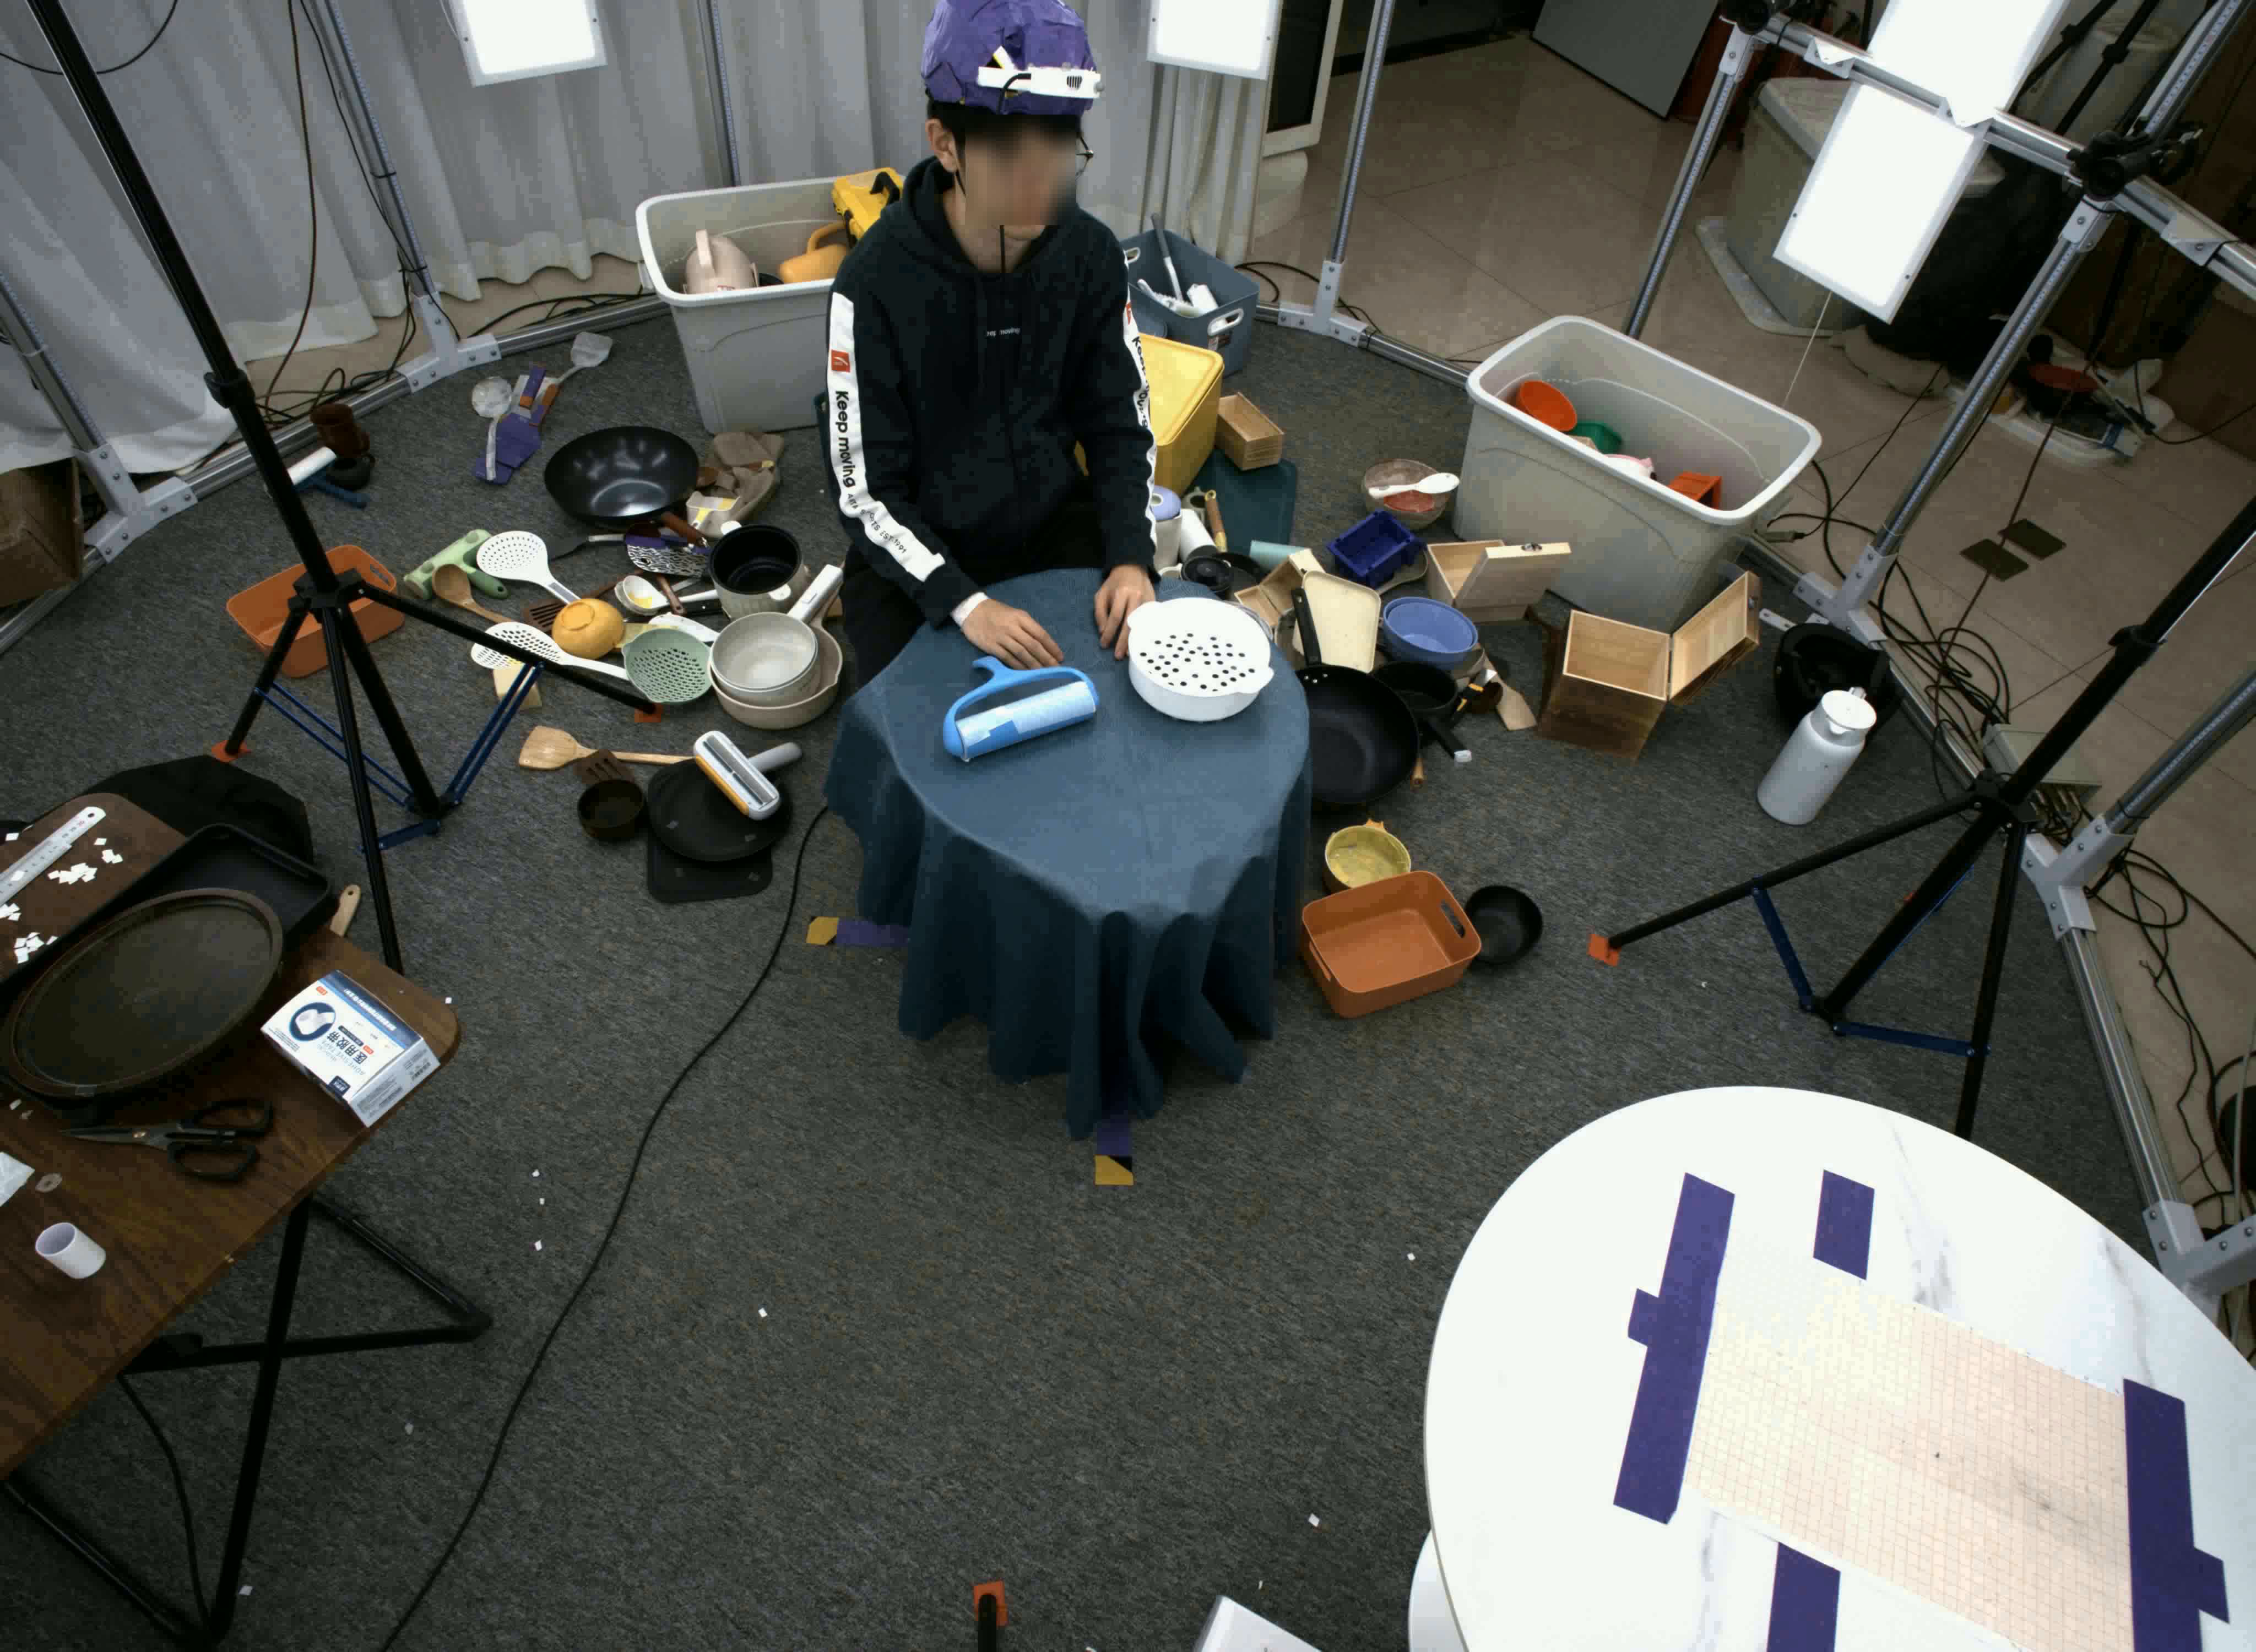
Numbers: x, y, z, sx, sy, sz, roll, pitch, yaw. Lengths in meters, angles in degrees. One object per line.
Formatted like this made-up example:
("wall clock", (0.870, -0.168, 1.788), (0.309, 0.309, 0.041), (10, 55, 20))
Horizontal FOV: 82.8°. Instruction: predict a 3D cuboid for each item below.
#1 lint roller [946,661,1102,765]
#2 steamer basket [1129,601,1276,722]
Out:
("lint roller", (-0.170, -0.183, 1.781), (0.230, 0.066, 0.184), (-25, 56, -20))
("steamer basket", (0.103, -0.234, 1.833), (0.233, 0.067, 0.204), (32, 54, 24))
